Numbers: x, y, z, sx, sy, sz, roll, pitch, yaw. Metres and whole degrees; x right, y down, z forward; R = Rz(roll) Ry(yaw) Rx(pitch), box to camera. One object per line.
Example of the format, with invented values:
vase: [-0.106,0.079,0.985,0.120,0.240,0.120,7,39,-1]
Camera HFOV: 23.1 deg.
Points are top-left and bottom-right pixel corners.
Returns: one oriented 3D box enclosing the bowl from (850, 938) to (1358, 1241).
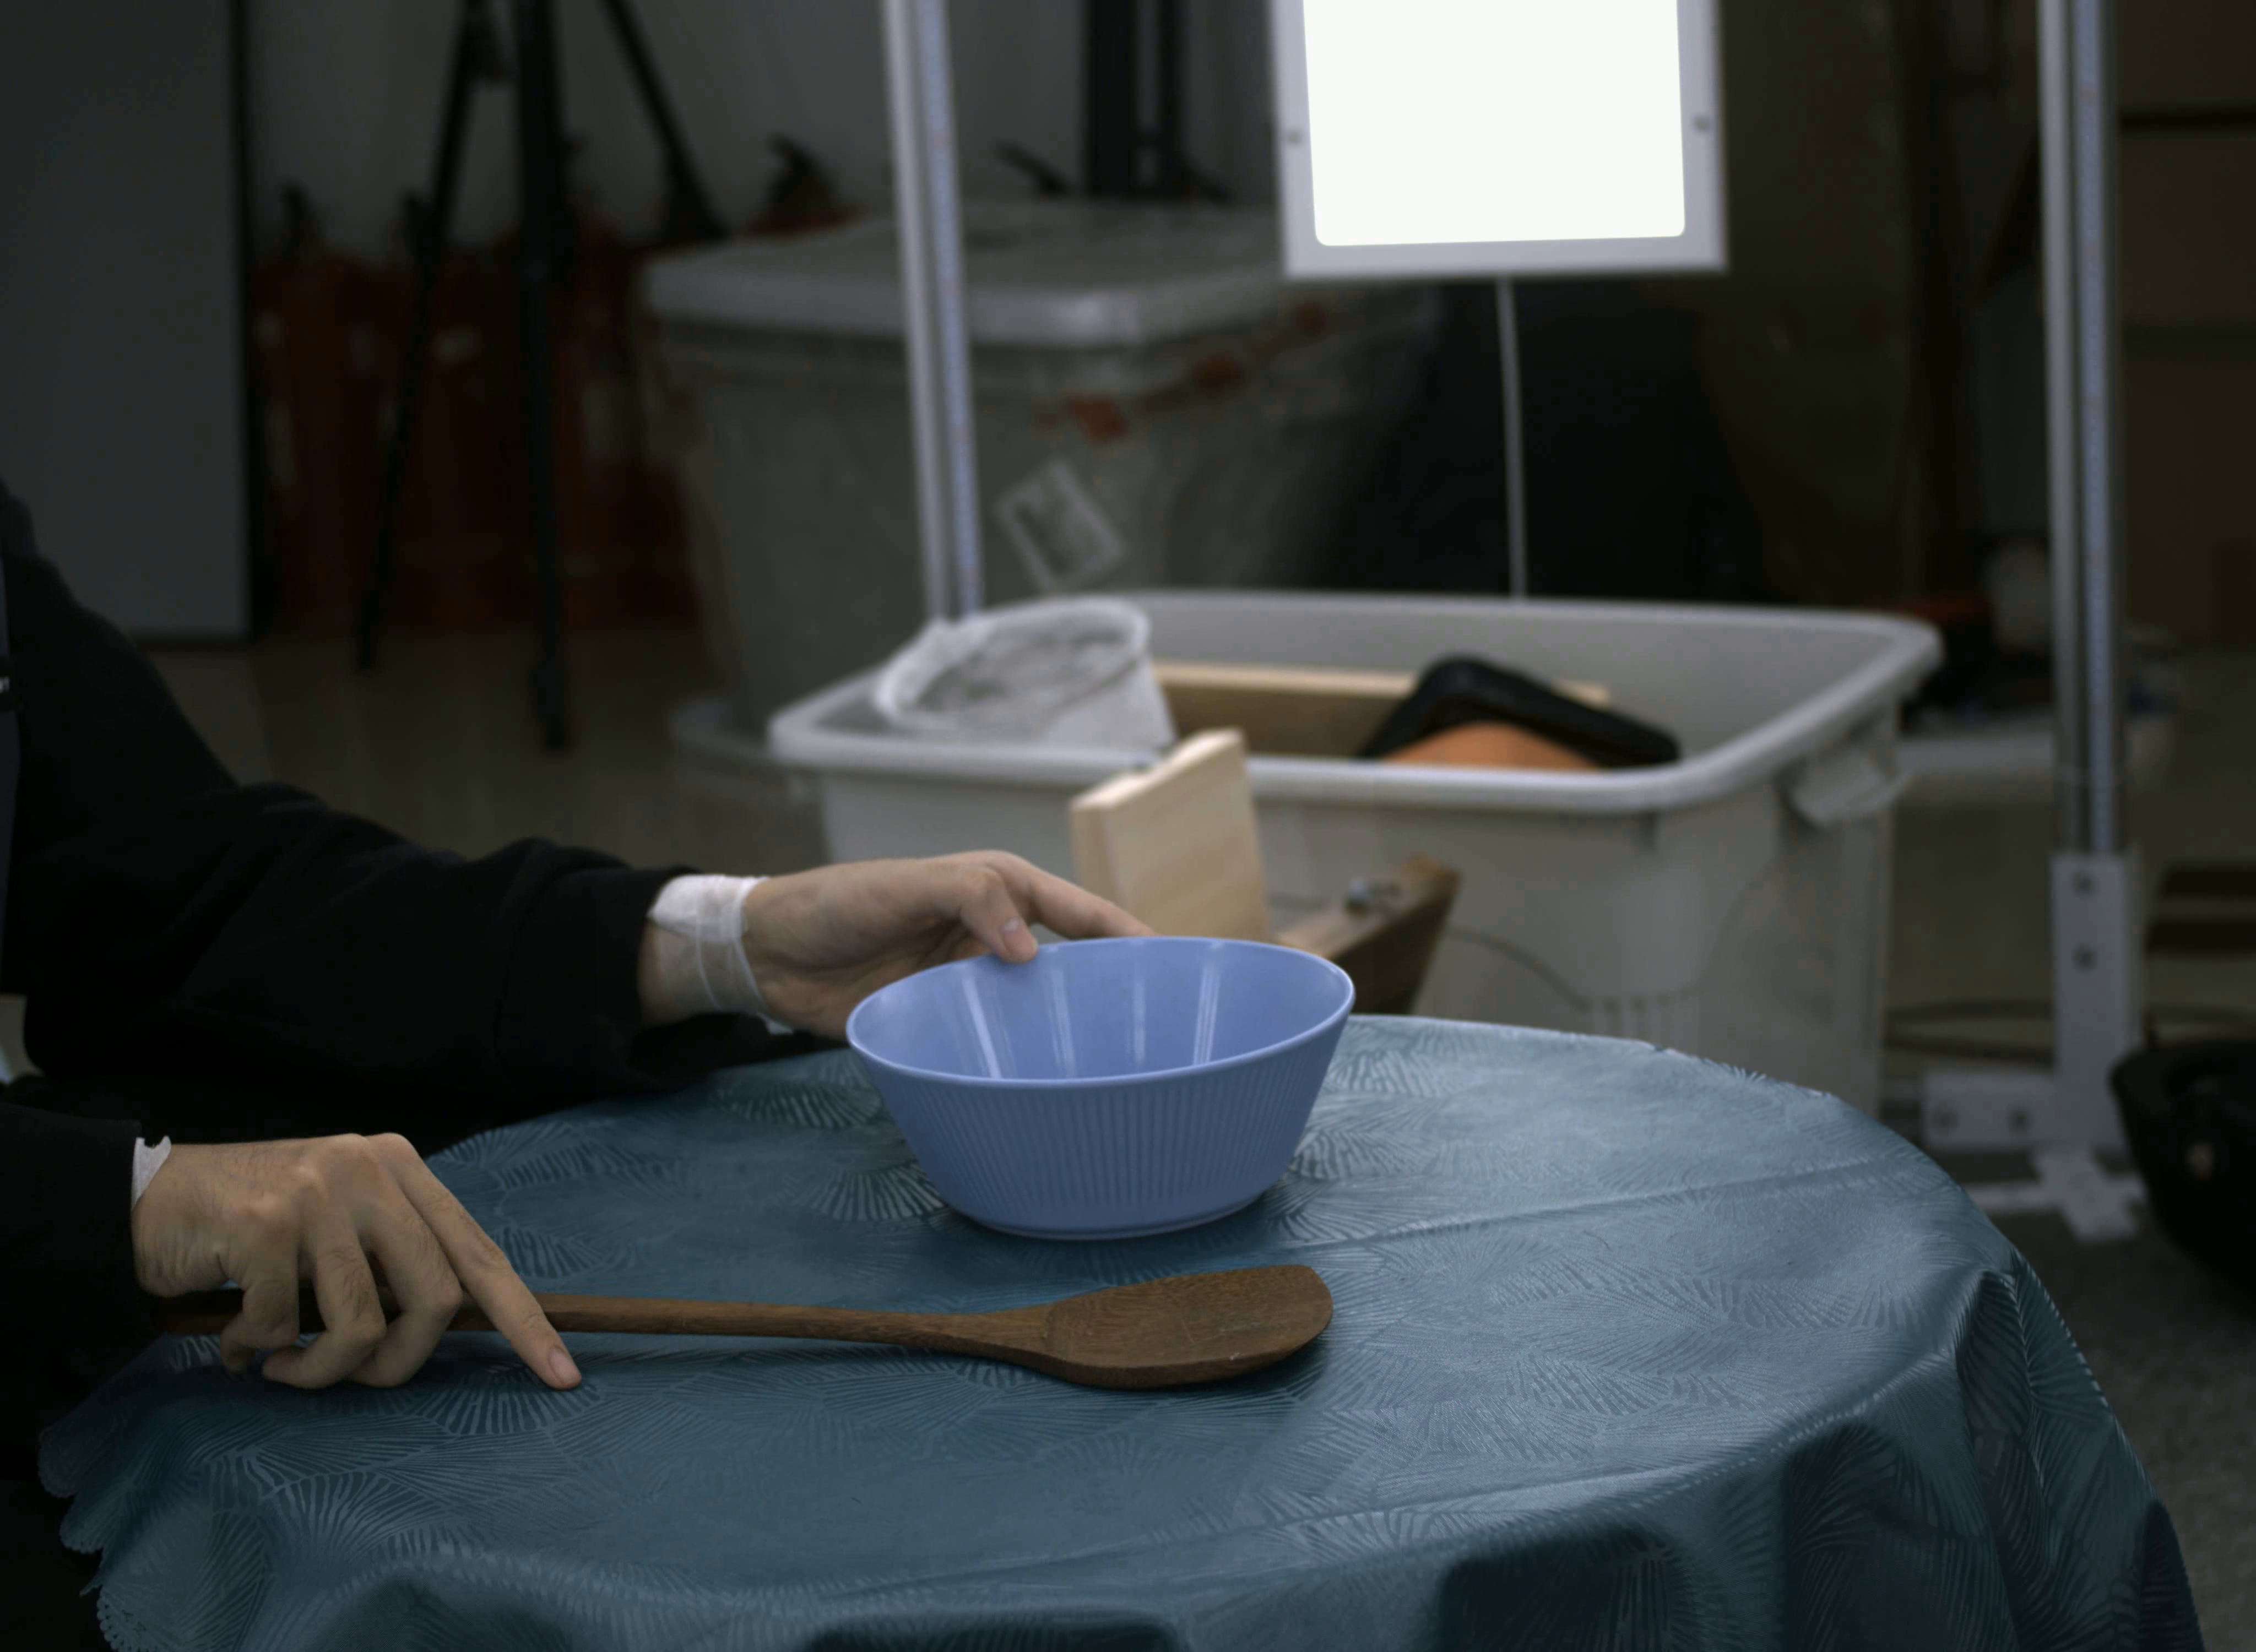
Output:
bowl: [-0.005,0.093,1.891,0.175,0.070,0.176,-6,13,0]

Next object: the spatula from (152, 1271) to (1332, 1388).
spatula: [-0.126,0.157,1.764,0.388,0.016,0.095,1,14,10]
